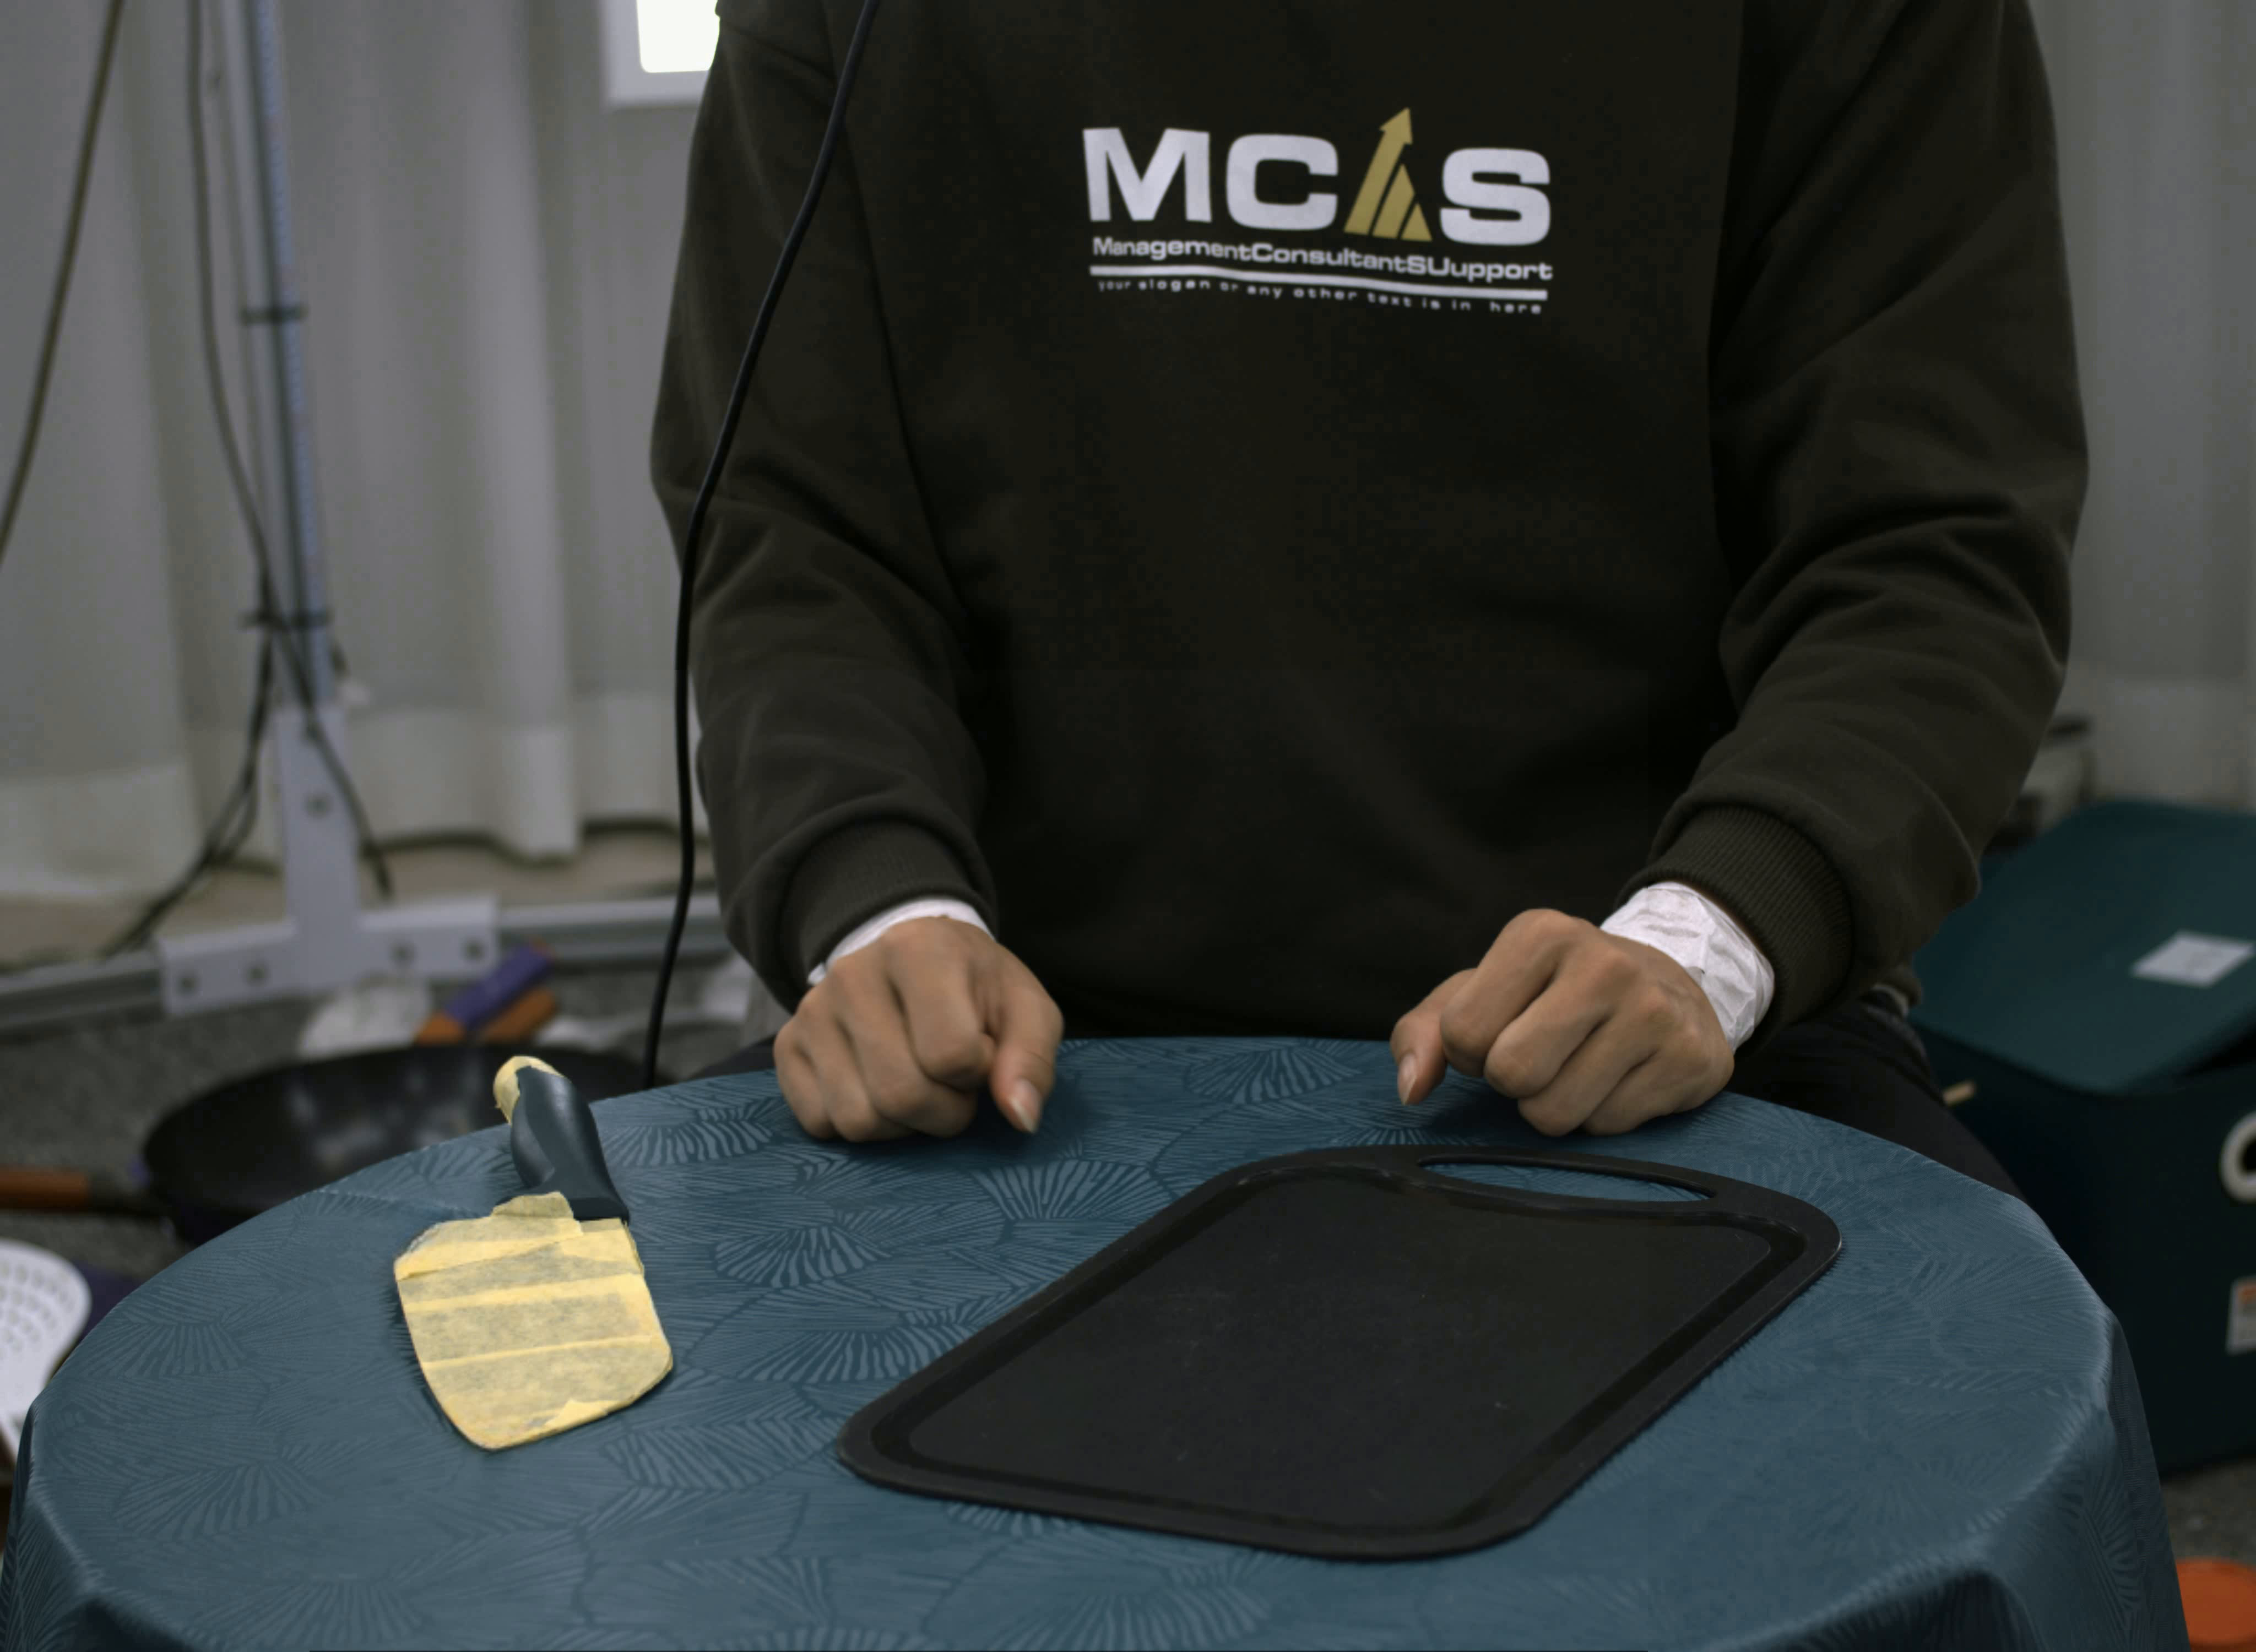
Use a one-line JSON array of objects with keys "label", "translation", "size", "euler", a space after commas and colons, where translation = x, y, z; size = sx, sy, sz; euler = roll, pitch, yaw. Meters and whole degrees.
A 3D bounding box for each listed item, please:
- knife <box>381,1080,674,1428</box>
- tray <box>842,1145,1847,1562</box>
[{"label": "knife", "translation": [-0.186, 0.130, 1.666], "size": [0.080, 0.027, 0.292], "euler": [-3, 15, -9]}, {"label": "tray", "translation": [0.071, 0.143, 1.583], "size": [0.211, 0.010, 0.326], "euler": [5, 17, 28]}]
